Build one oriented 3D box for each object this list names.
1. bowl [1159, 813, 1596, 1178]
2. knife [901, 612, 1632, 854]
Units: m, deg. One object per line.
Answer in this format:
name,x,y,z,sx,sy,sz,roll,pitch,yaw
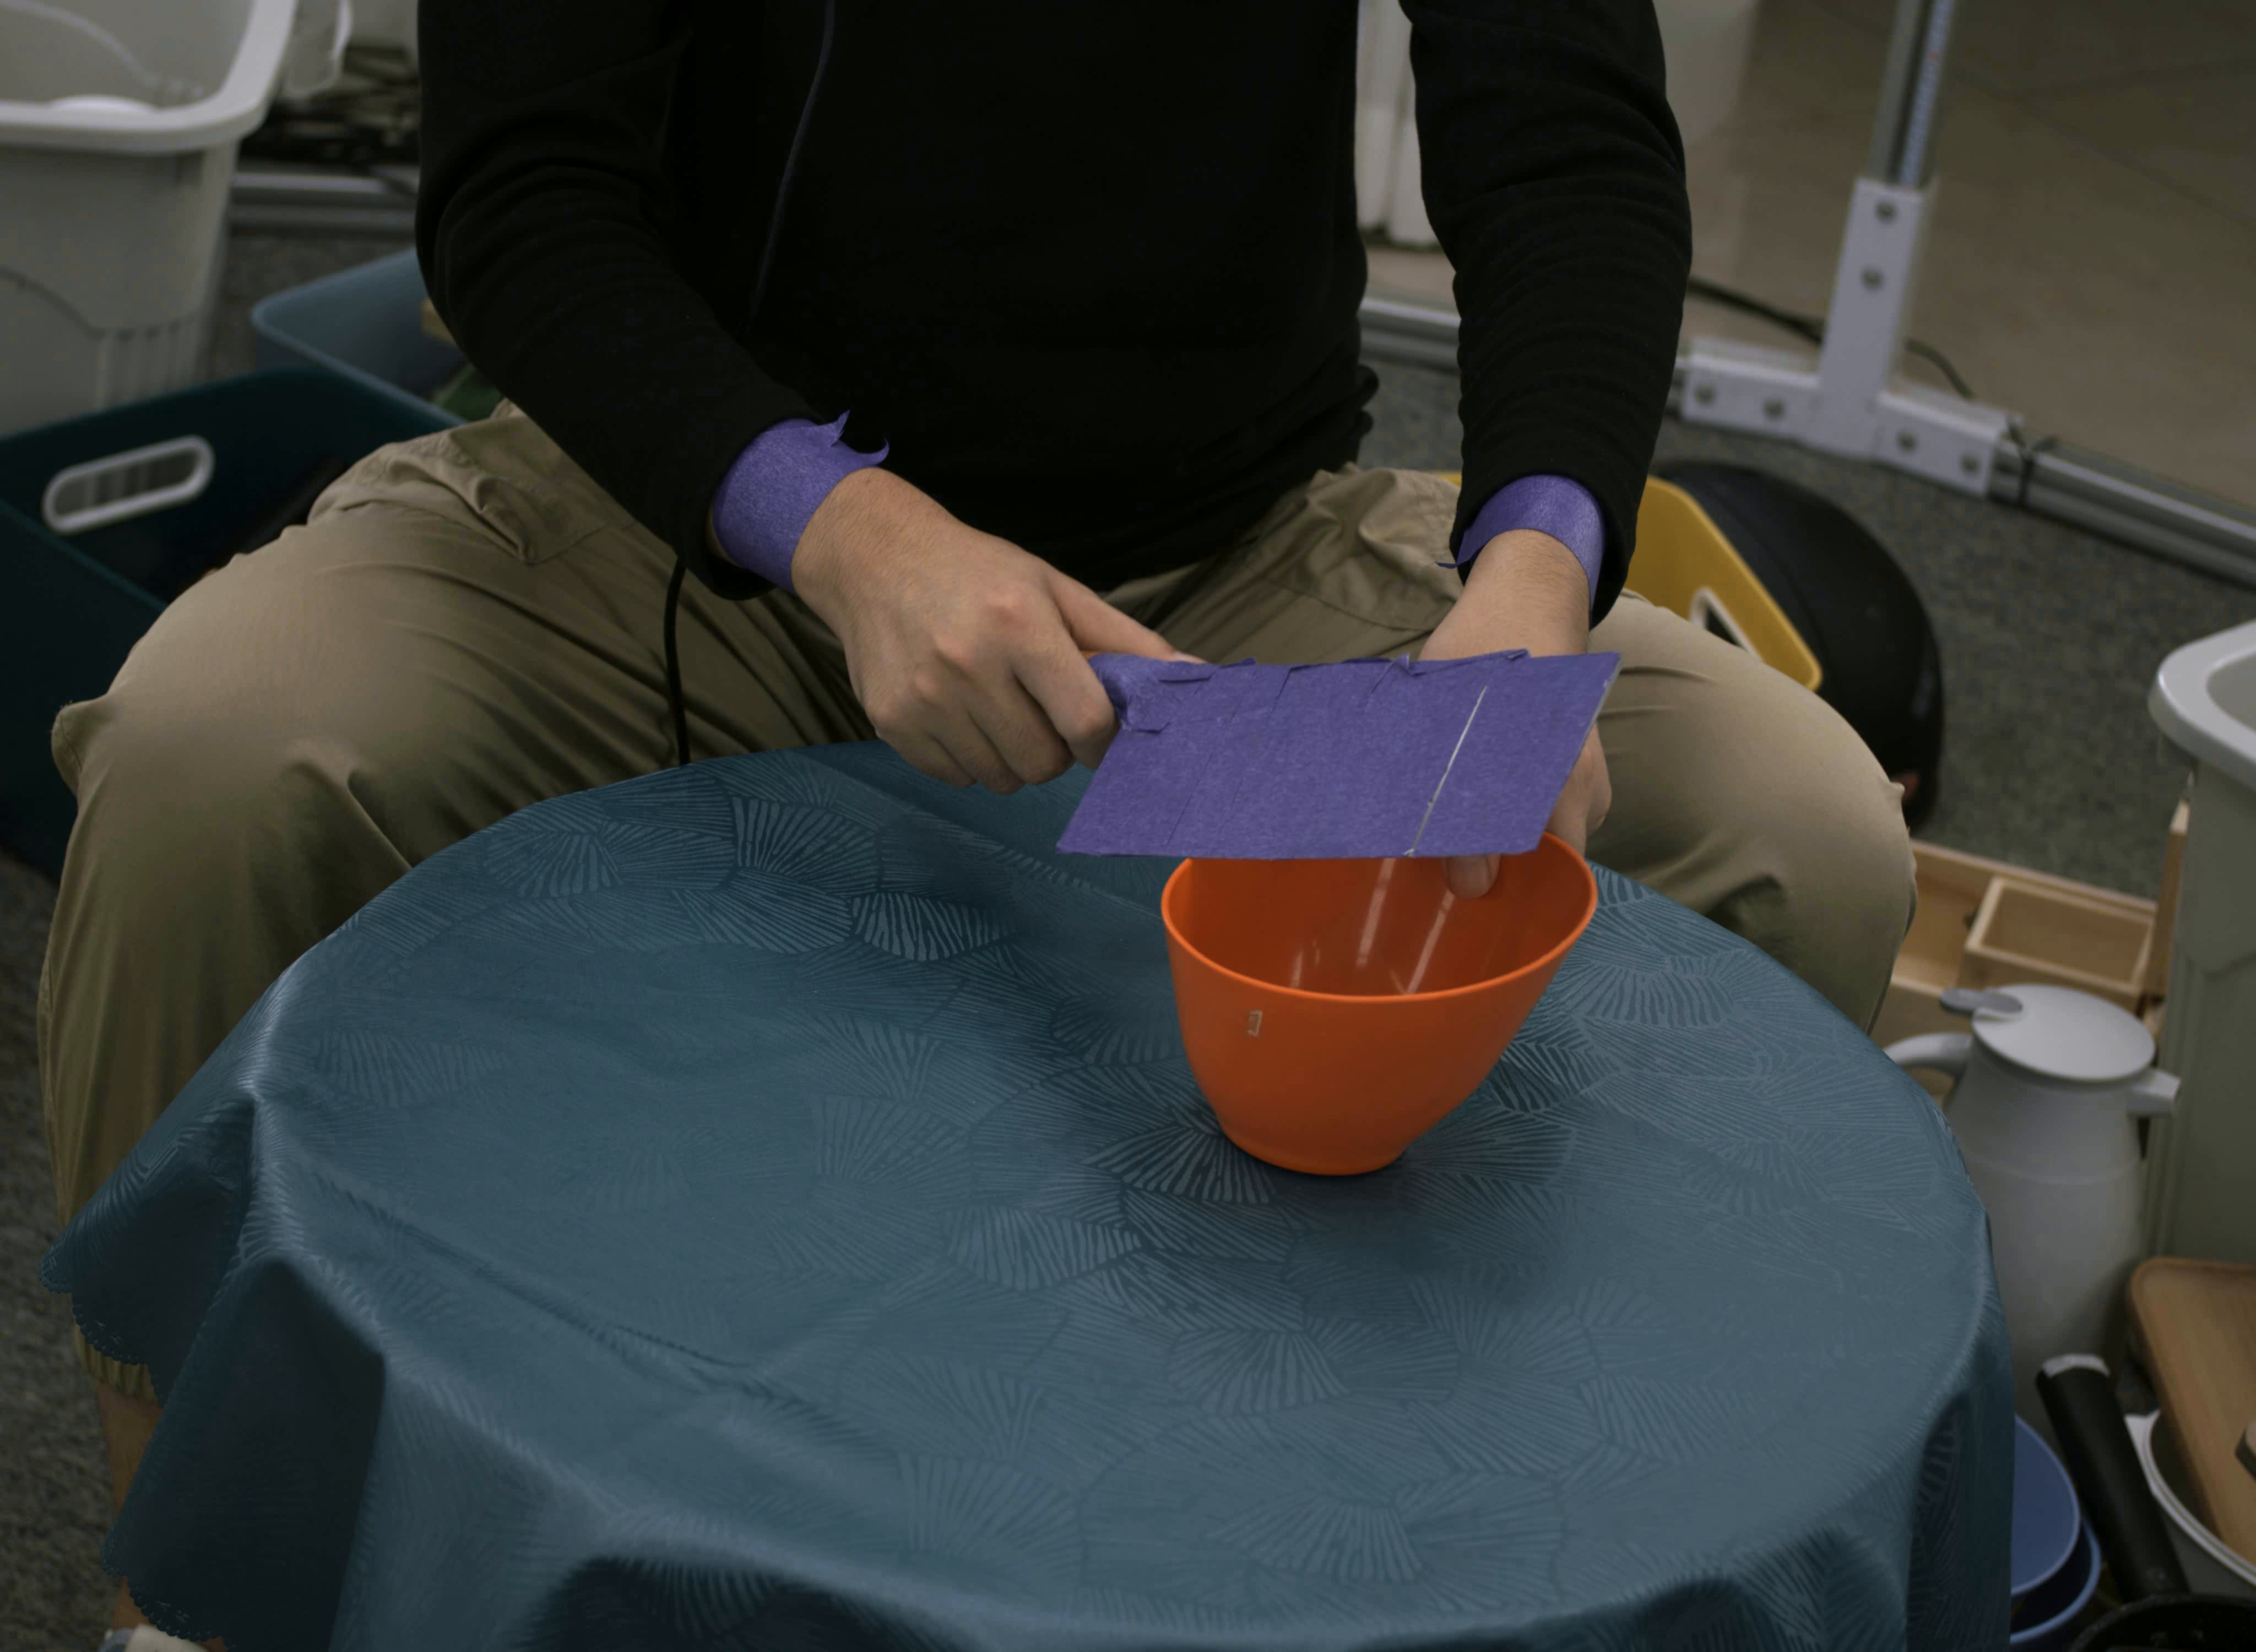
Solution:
bowl,0.080,0.061,1.832,0.147,0.104,0.149,6,27,-3
knife,0.031,-0.030,1.879,0.316,0.032,0.104,-3,46,40
